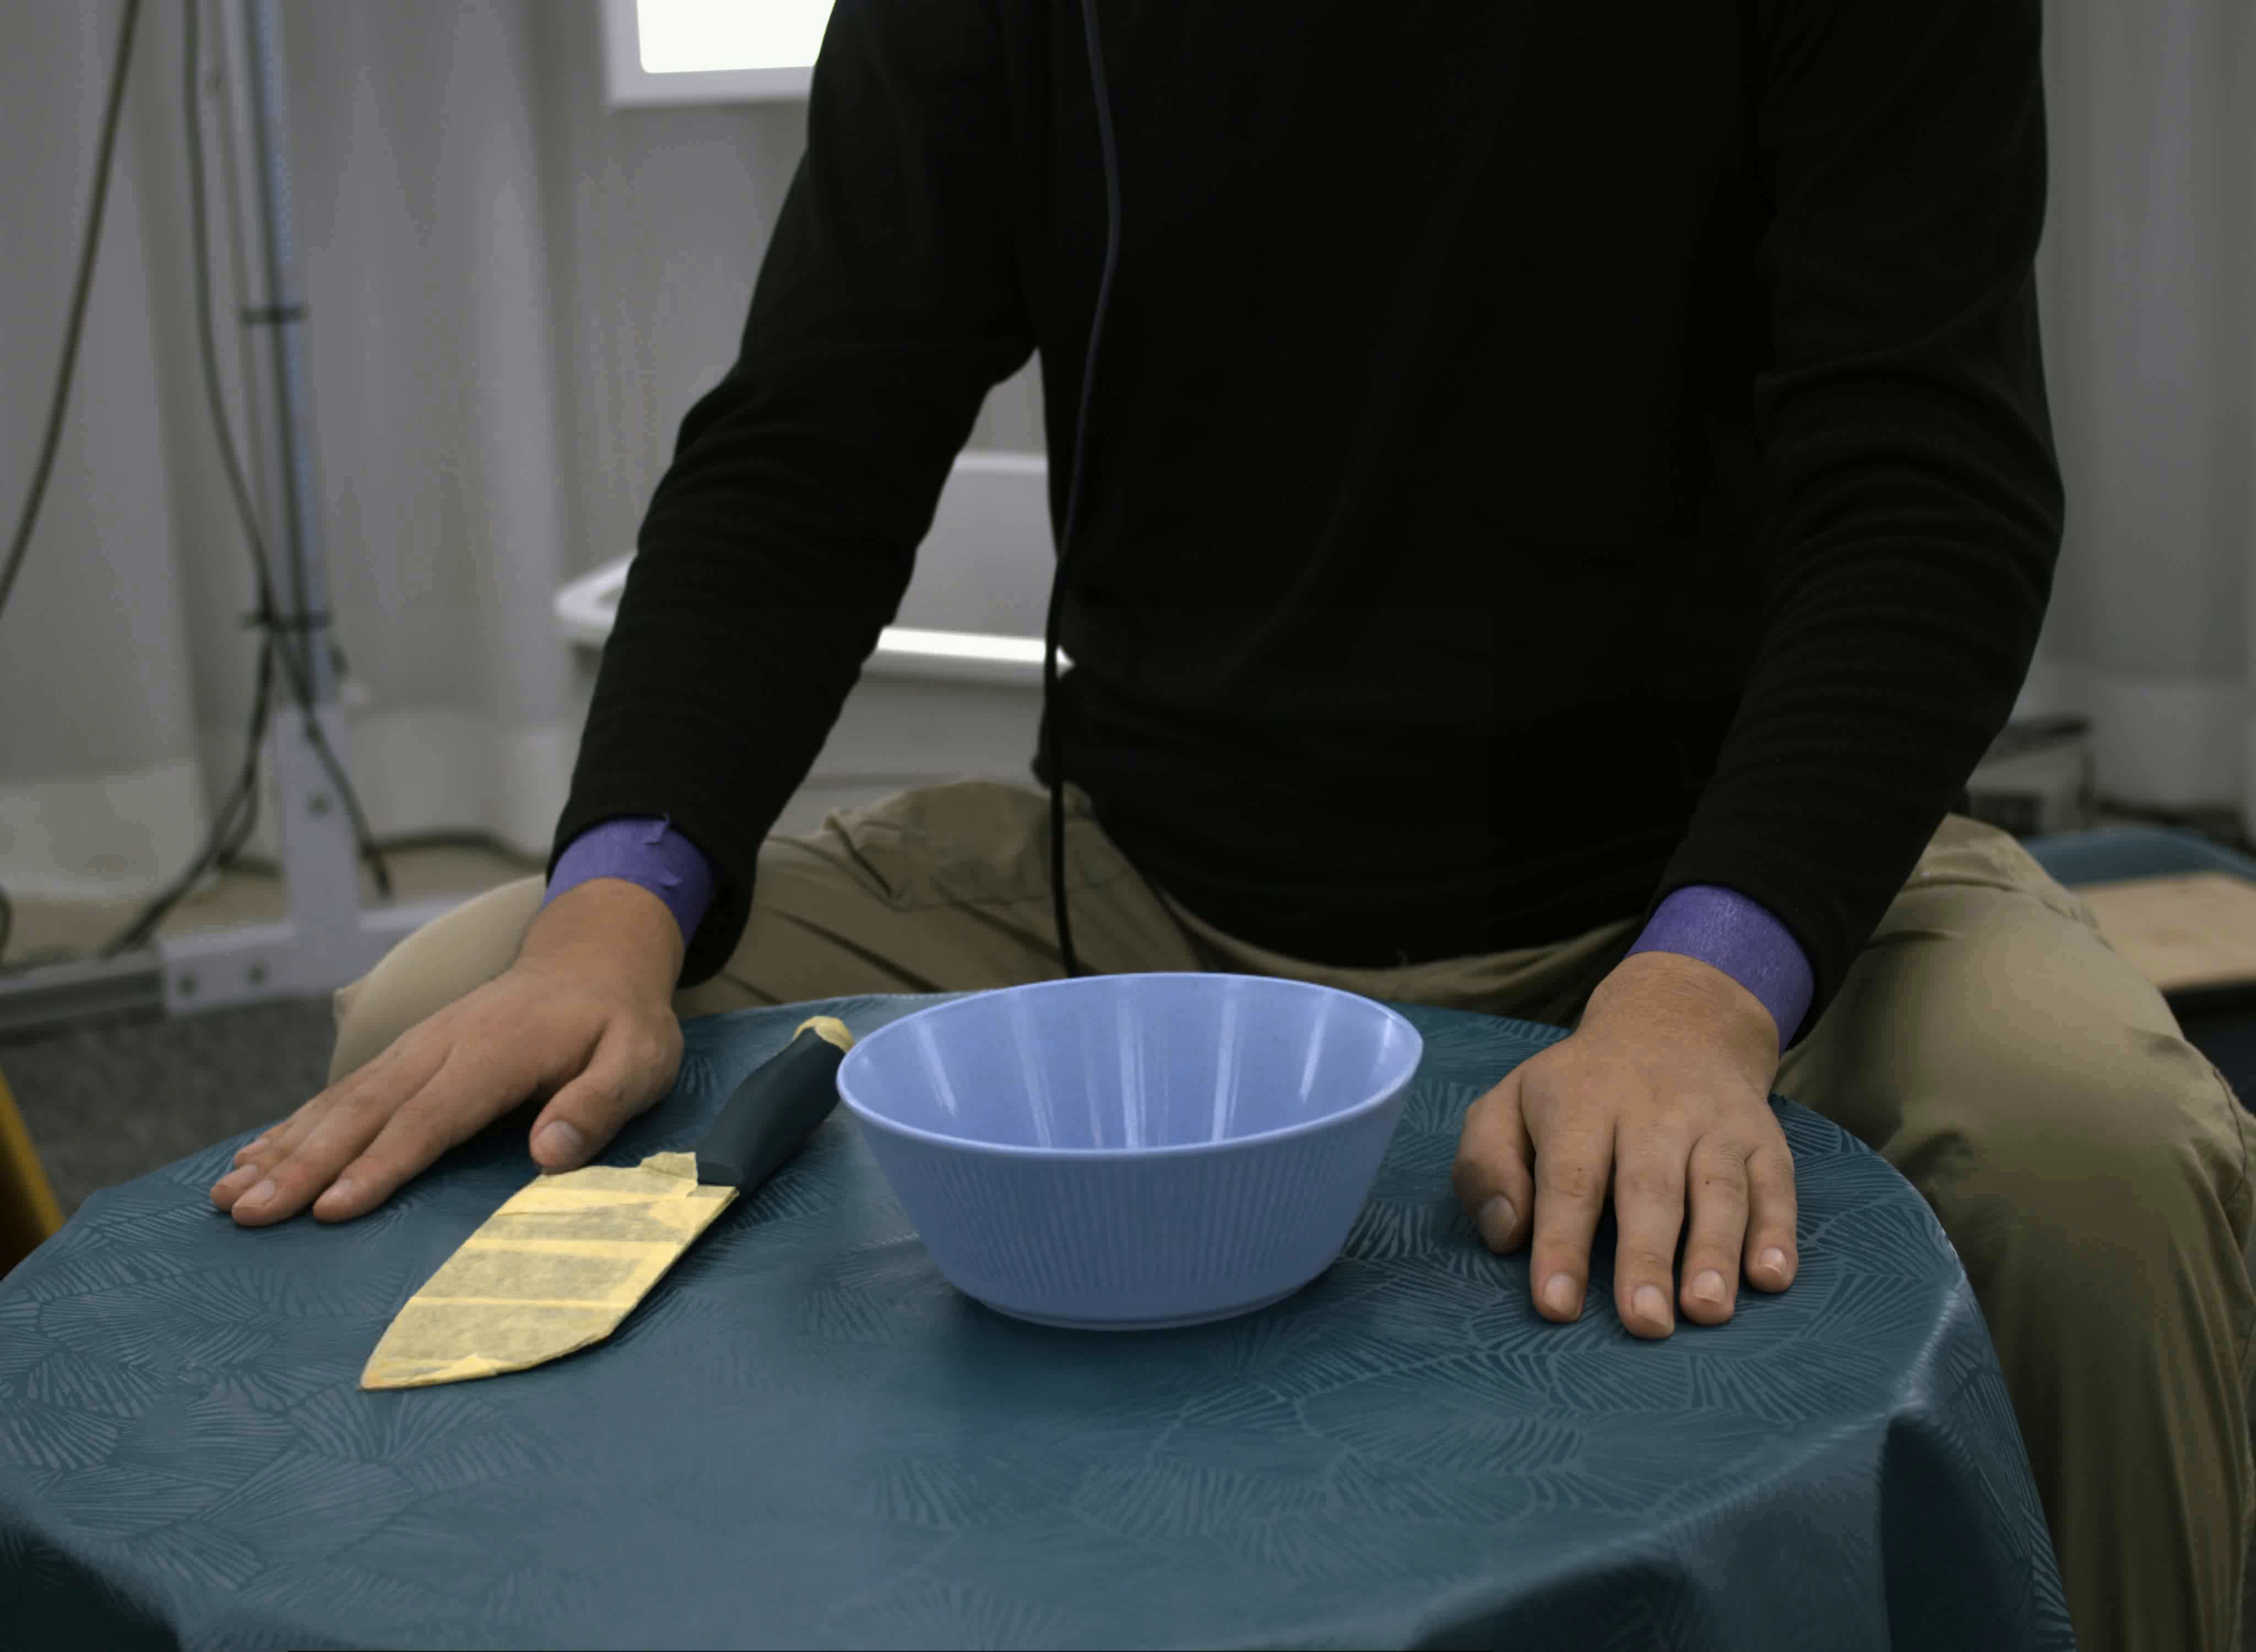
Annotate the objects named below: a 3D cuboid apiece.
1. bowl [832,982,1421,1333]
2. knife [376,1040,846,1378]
[{"bbox_3d":[0.001,0.101,1.634,0.175,0.070,0.177,-3,15,1],"label":"bowl"},{"bbox_3d":[-0.156,0.119,1.702,0.081,0.027,0.290,4,17,19],"label":"knife"}]
